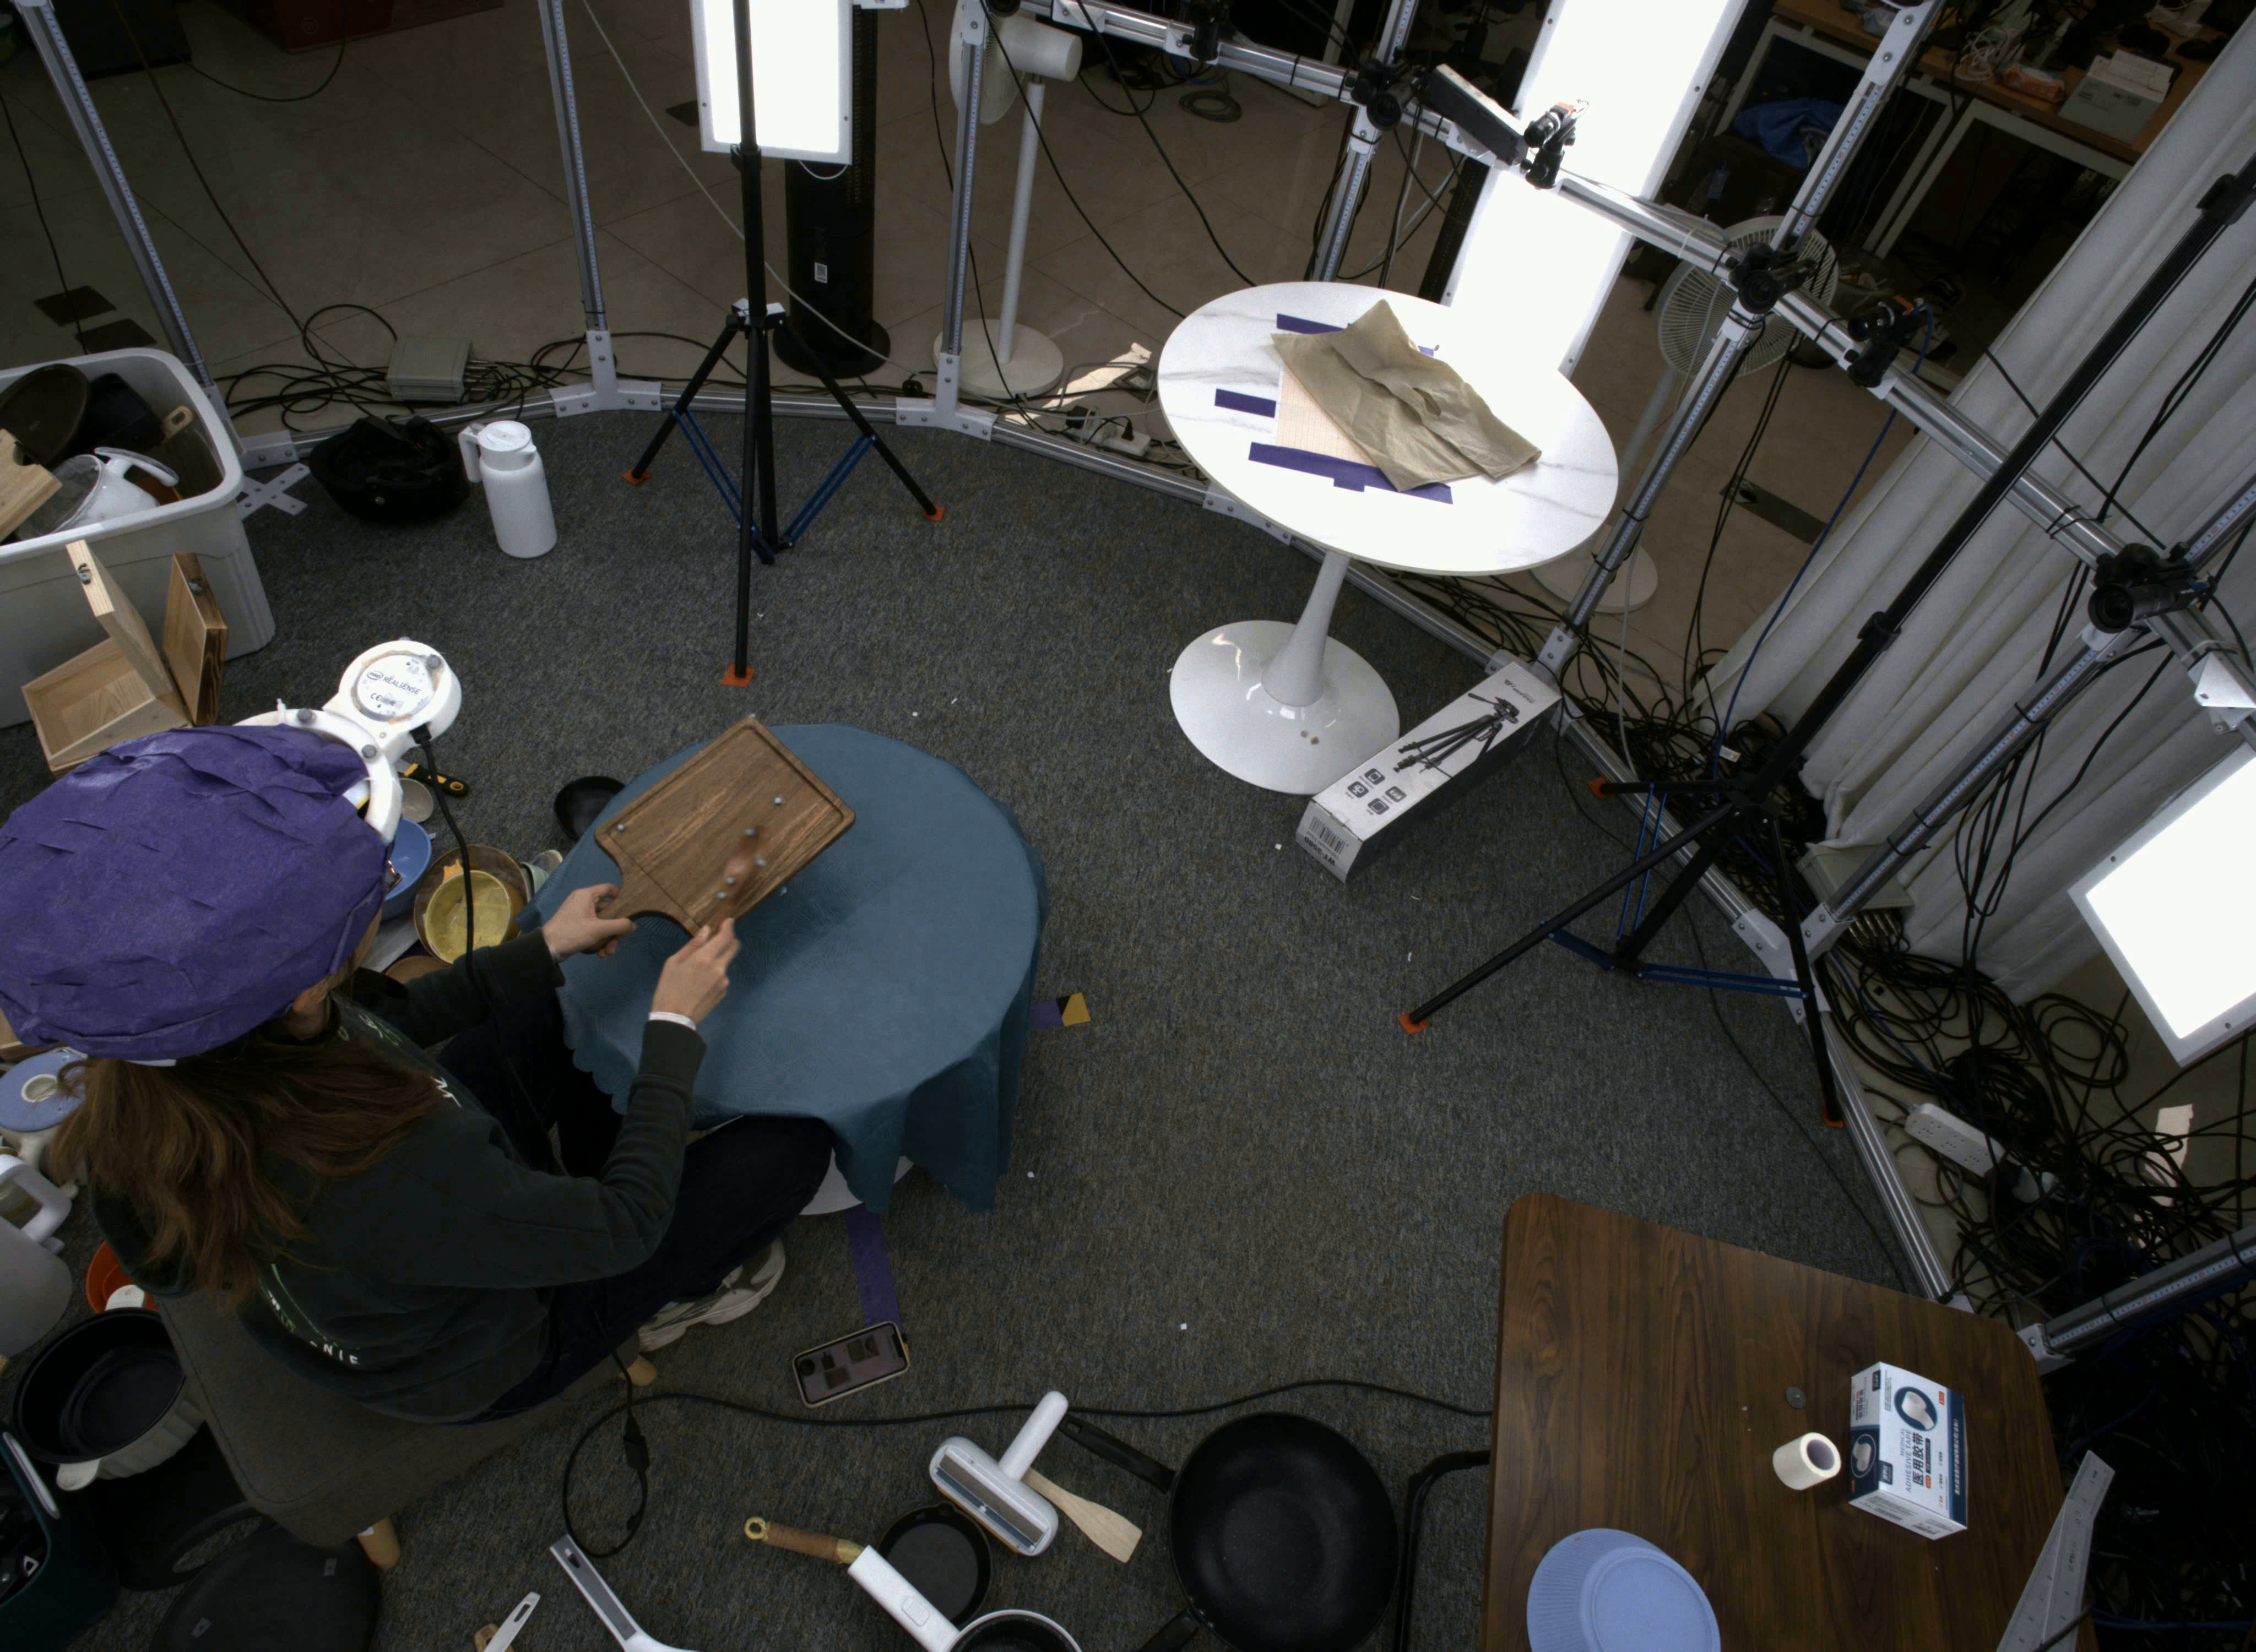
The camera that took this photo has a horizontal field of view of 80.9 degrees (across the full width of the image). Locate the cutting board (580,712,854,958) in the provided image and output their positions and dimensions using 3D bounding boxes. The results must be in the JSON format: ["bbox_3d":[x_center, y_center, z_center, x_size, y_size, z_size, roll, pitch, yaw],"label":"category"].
[{"bbox_3d":[-0.518,0.030,1.540,0.200,0.023,0.352,44,61,2],"label":"cutting board"}]

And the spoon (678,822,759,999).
[{"bbox_3d":[-0.462,0.091,1.457,0.018,0.073,0.214,34,59,-35],"label":"spoon"}]
